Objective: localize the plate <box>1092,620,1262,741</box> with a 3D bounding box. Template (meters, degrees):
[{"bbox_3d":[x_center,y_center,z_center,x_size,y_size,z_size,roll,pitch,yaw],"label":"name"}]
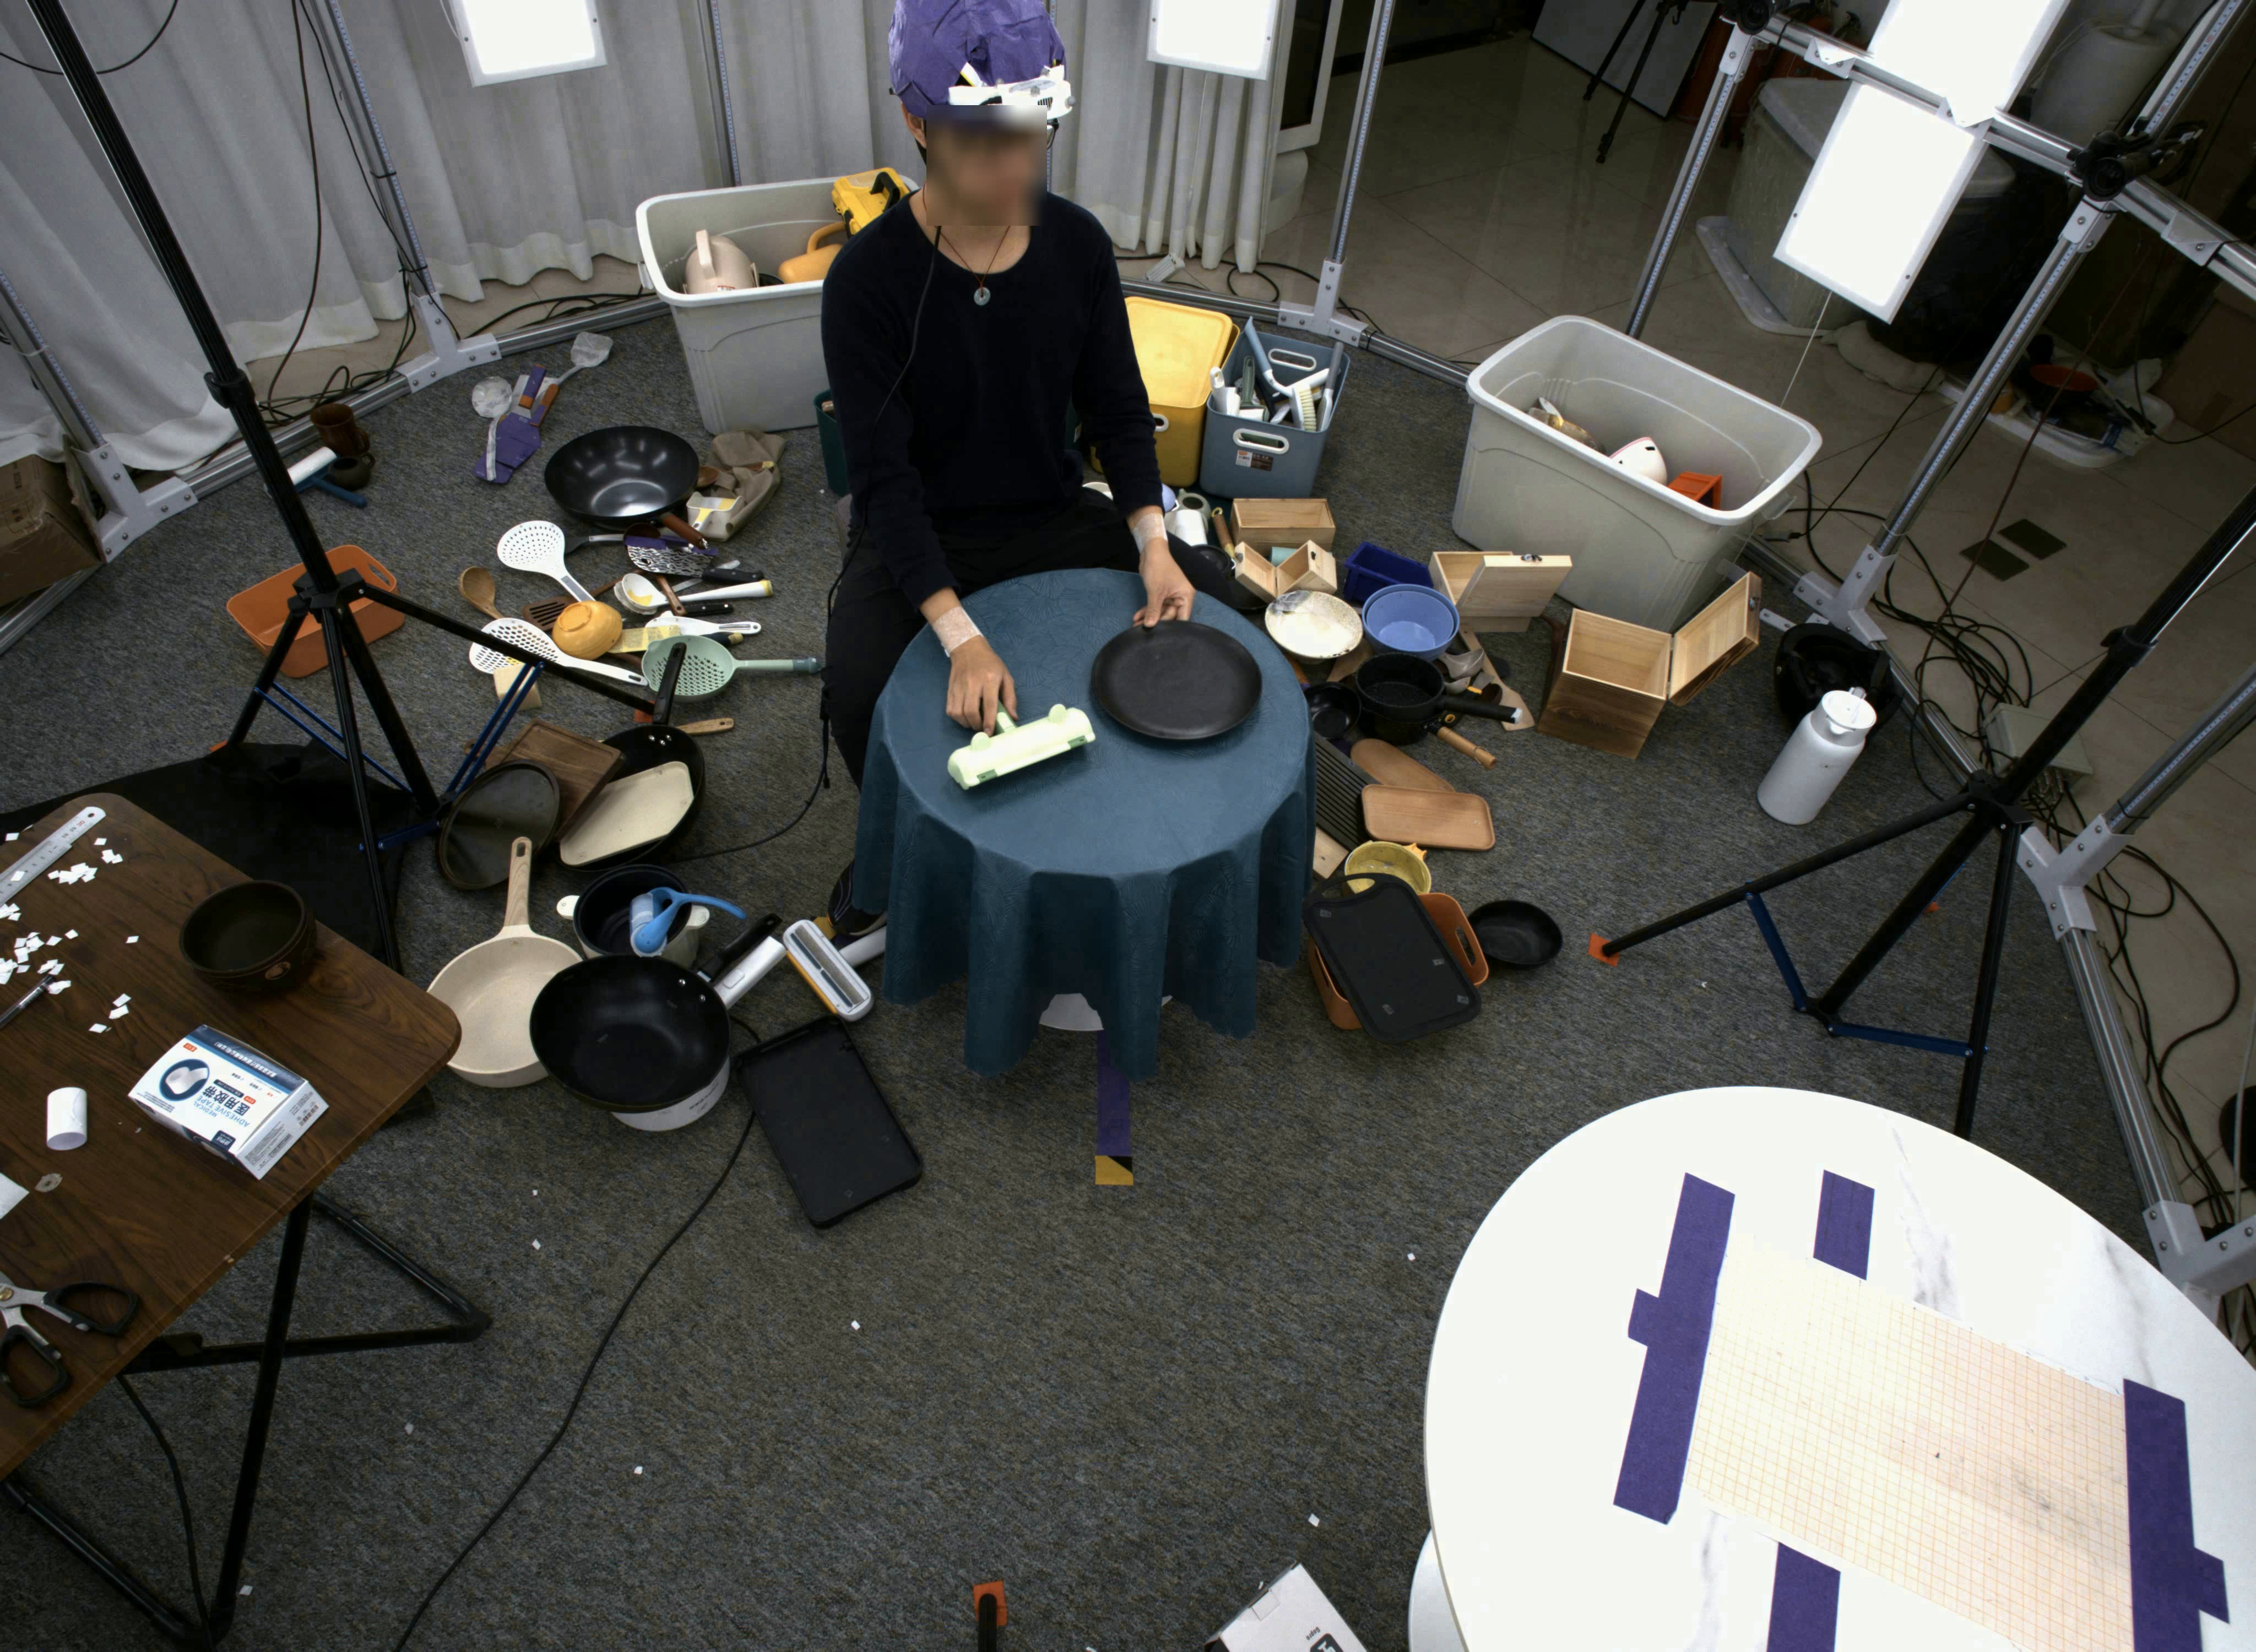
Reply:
[{"bbox_3d":[0.070,-0.205,1.833,0.244,0.023,0.250,1,49,-1],"label":"plate"}]

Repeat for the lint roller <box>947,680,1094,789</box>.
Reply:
[{"bbox_3d":[-0.171,-0.151,1.732,0.199,0.080,0.187,-22,60,-23],"label":"lint roller"}]
